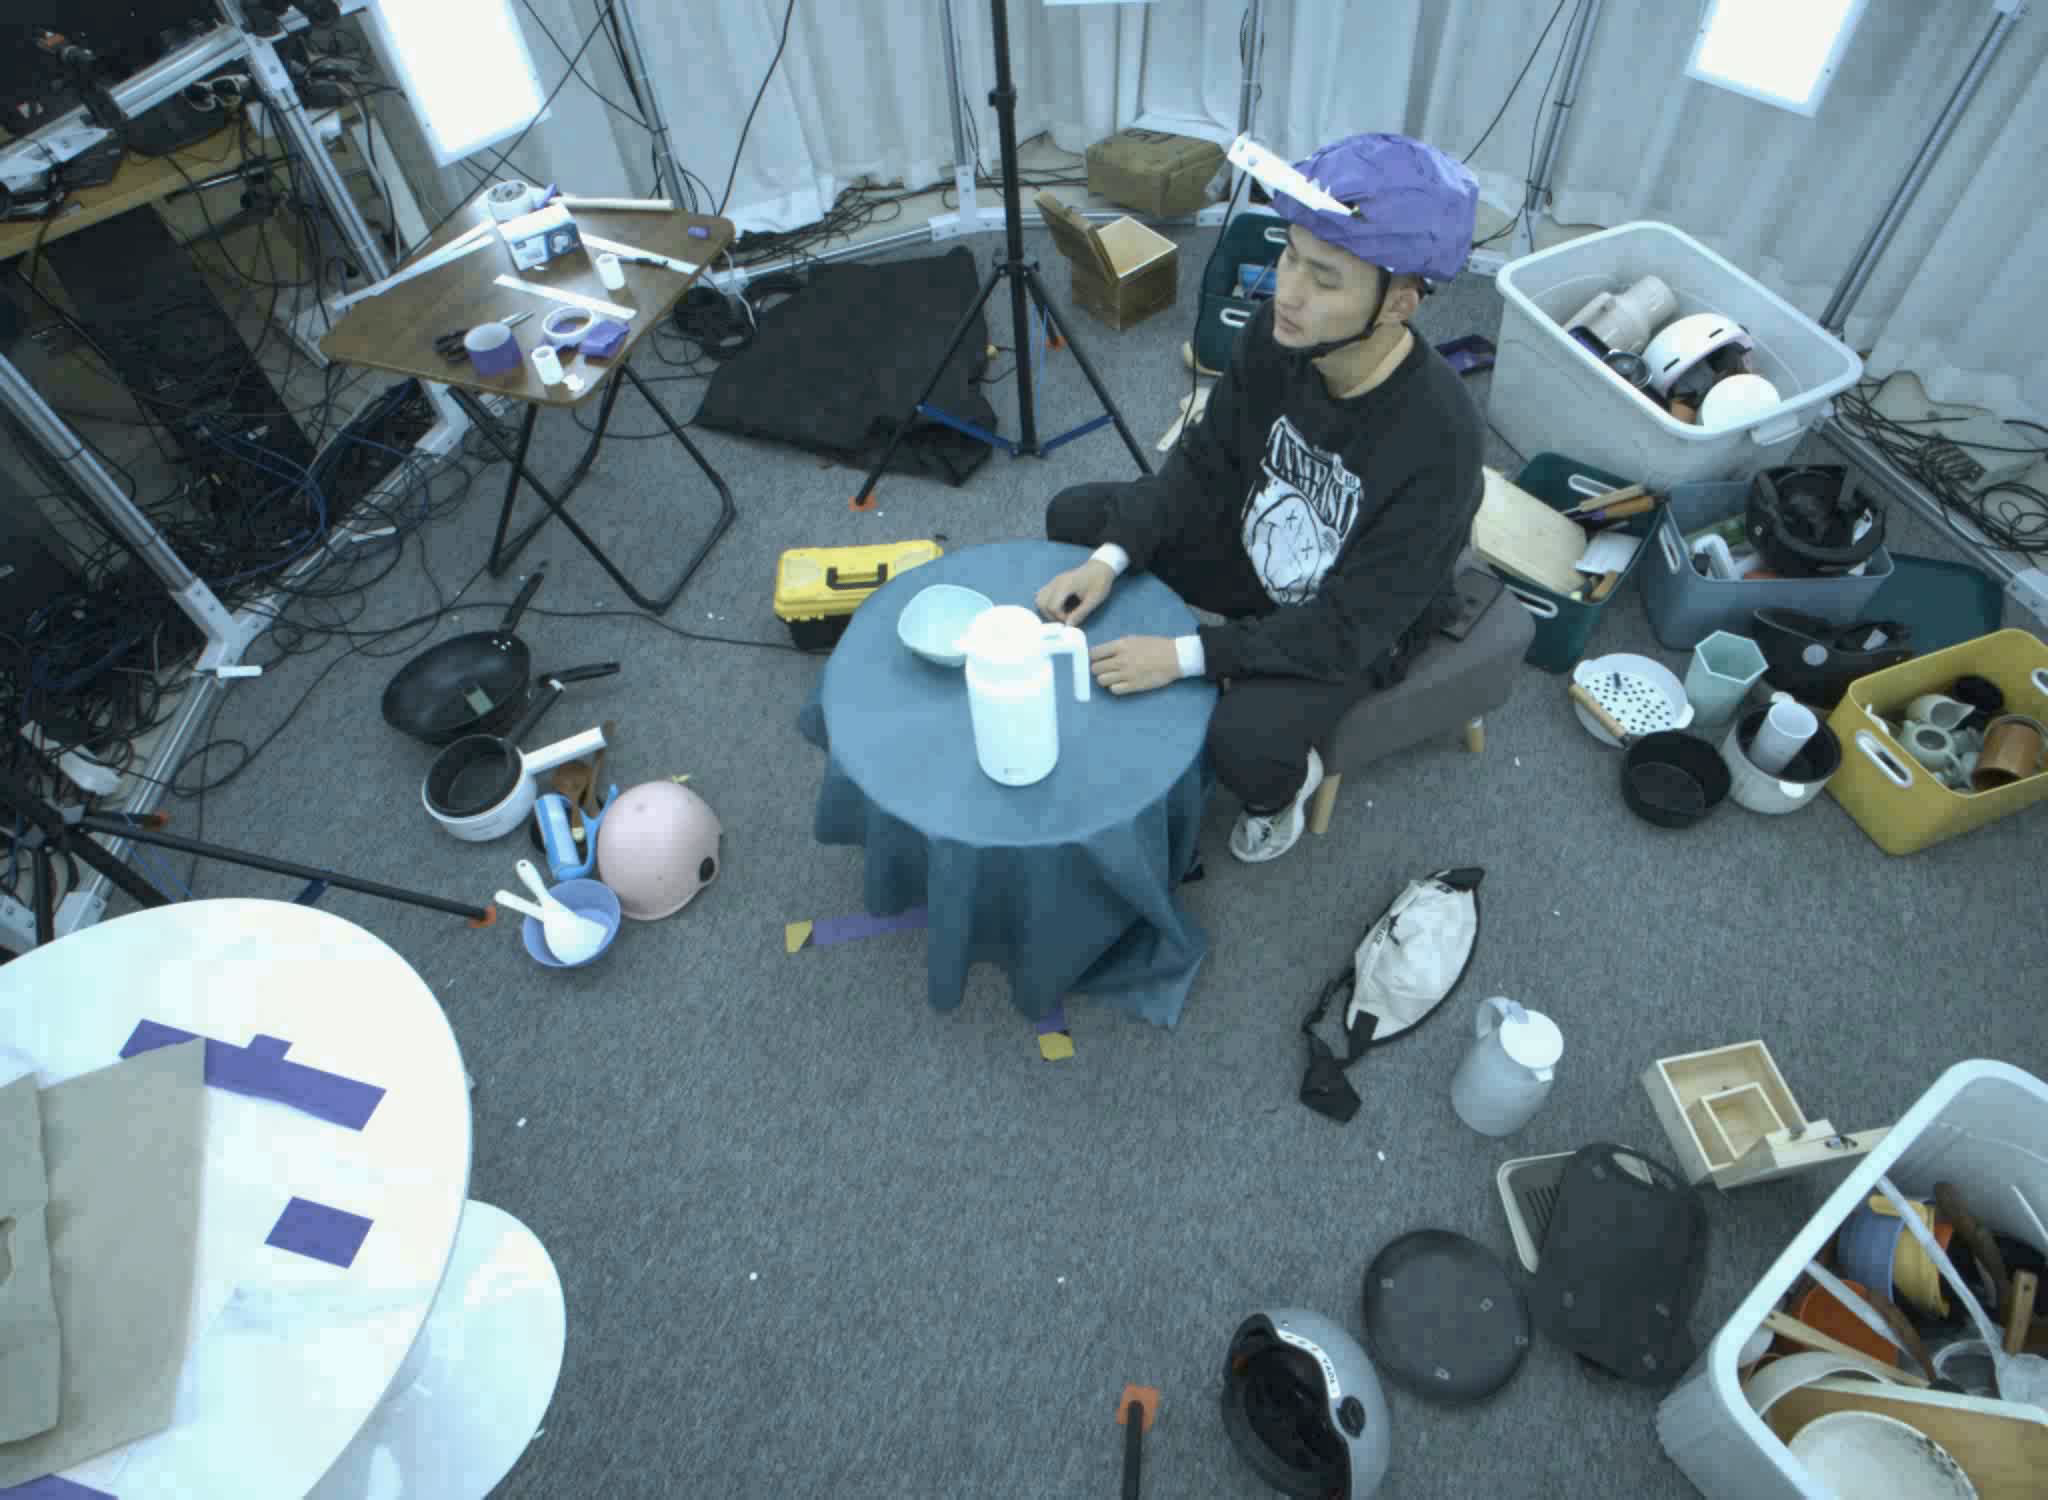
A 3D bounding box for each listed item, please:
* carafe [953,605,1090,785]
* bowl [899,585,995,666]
[{"bbox_3d":[0.002,-0.074,1.671,0.173,0.272,0.122,-8,52,-2],"label":"carafe"},{"bbox_3d":[-0.116,-0.182,1.884,0.151,0.059,0.150,-1,55,2],"label":"bowl"}]
